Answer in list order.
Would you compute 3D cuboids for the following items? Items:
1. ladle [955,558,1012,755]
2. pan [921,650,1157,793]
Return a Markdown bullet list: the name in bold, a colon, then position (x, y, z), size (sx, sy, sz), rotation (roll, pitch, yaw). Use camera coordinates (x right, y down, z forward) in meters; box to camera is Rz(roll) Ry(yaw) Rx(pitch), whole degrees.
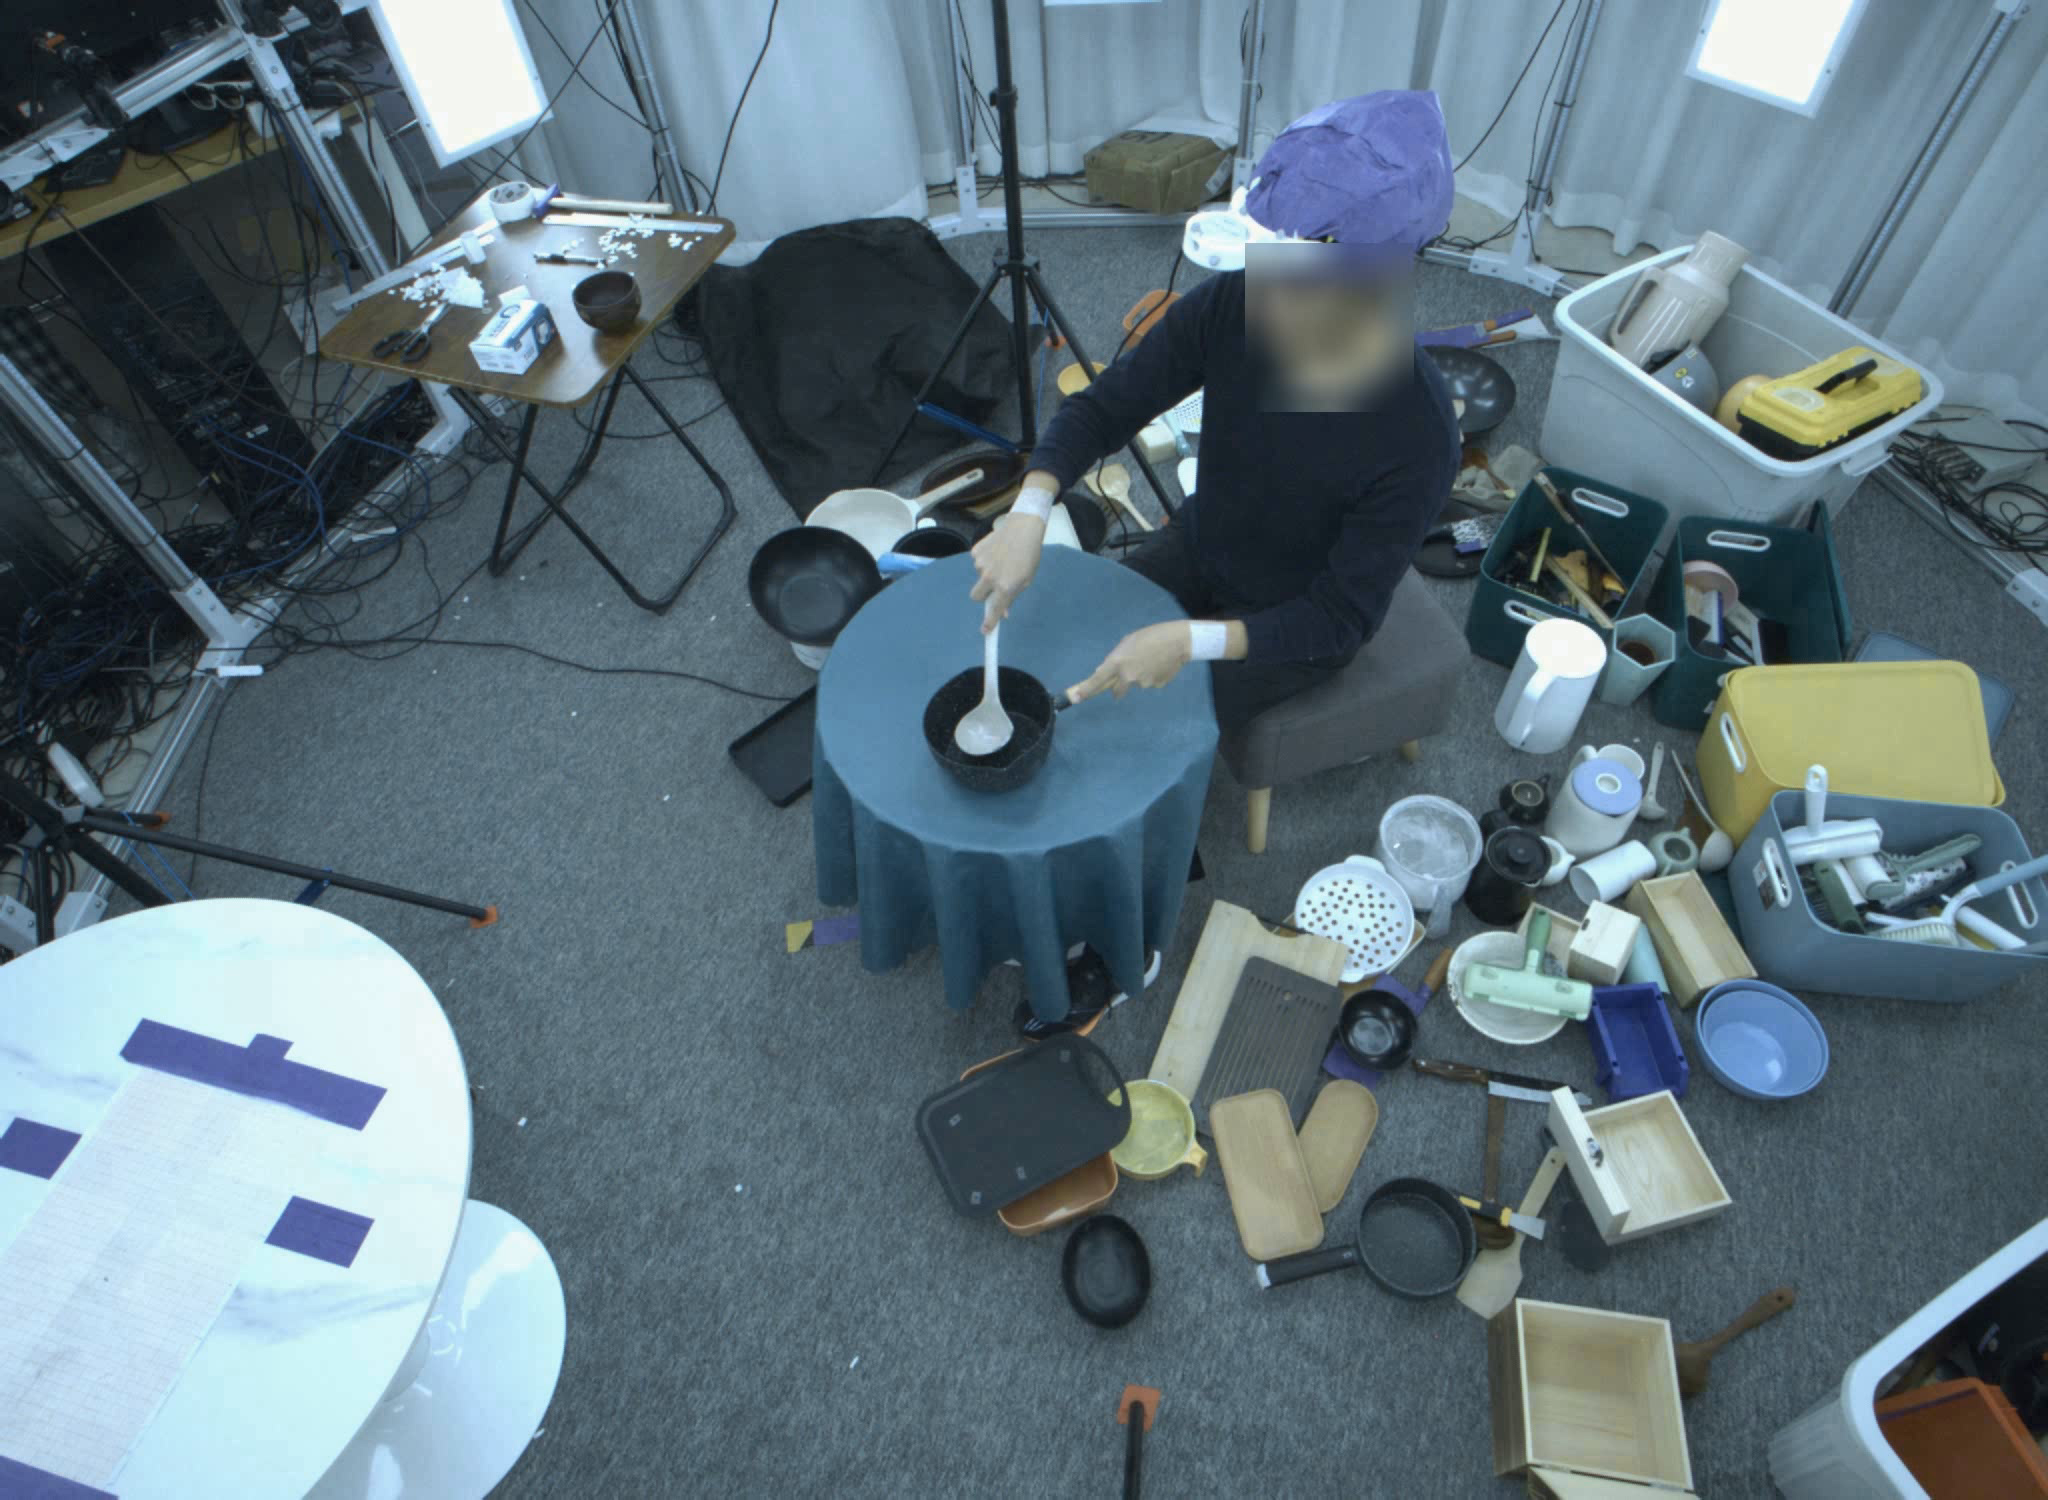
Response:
- **ladle**: position (-0.056, -0.129, 1.727), size (0.087, 0.276, 0.070), rotation (14, 24, 31)
- **pan**: position (0.027, -0.055, 1.745), size (0.344, 0.110, 0.204), rotation (-18, 52, -4)
